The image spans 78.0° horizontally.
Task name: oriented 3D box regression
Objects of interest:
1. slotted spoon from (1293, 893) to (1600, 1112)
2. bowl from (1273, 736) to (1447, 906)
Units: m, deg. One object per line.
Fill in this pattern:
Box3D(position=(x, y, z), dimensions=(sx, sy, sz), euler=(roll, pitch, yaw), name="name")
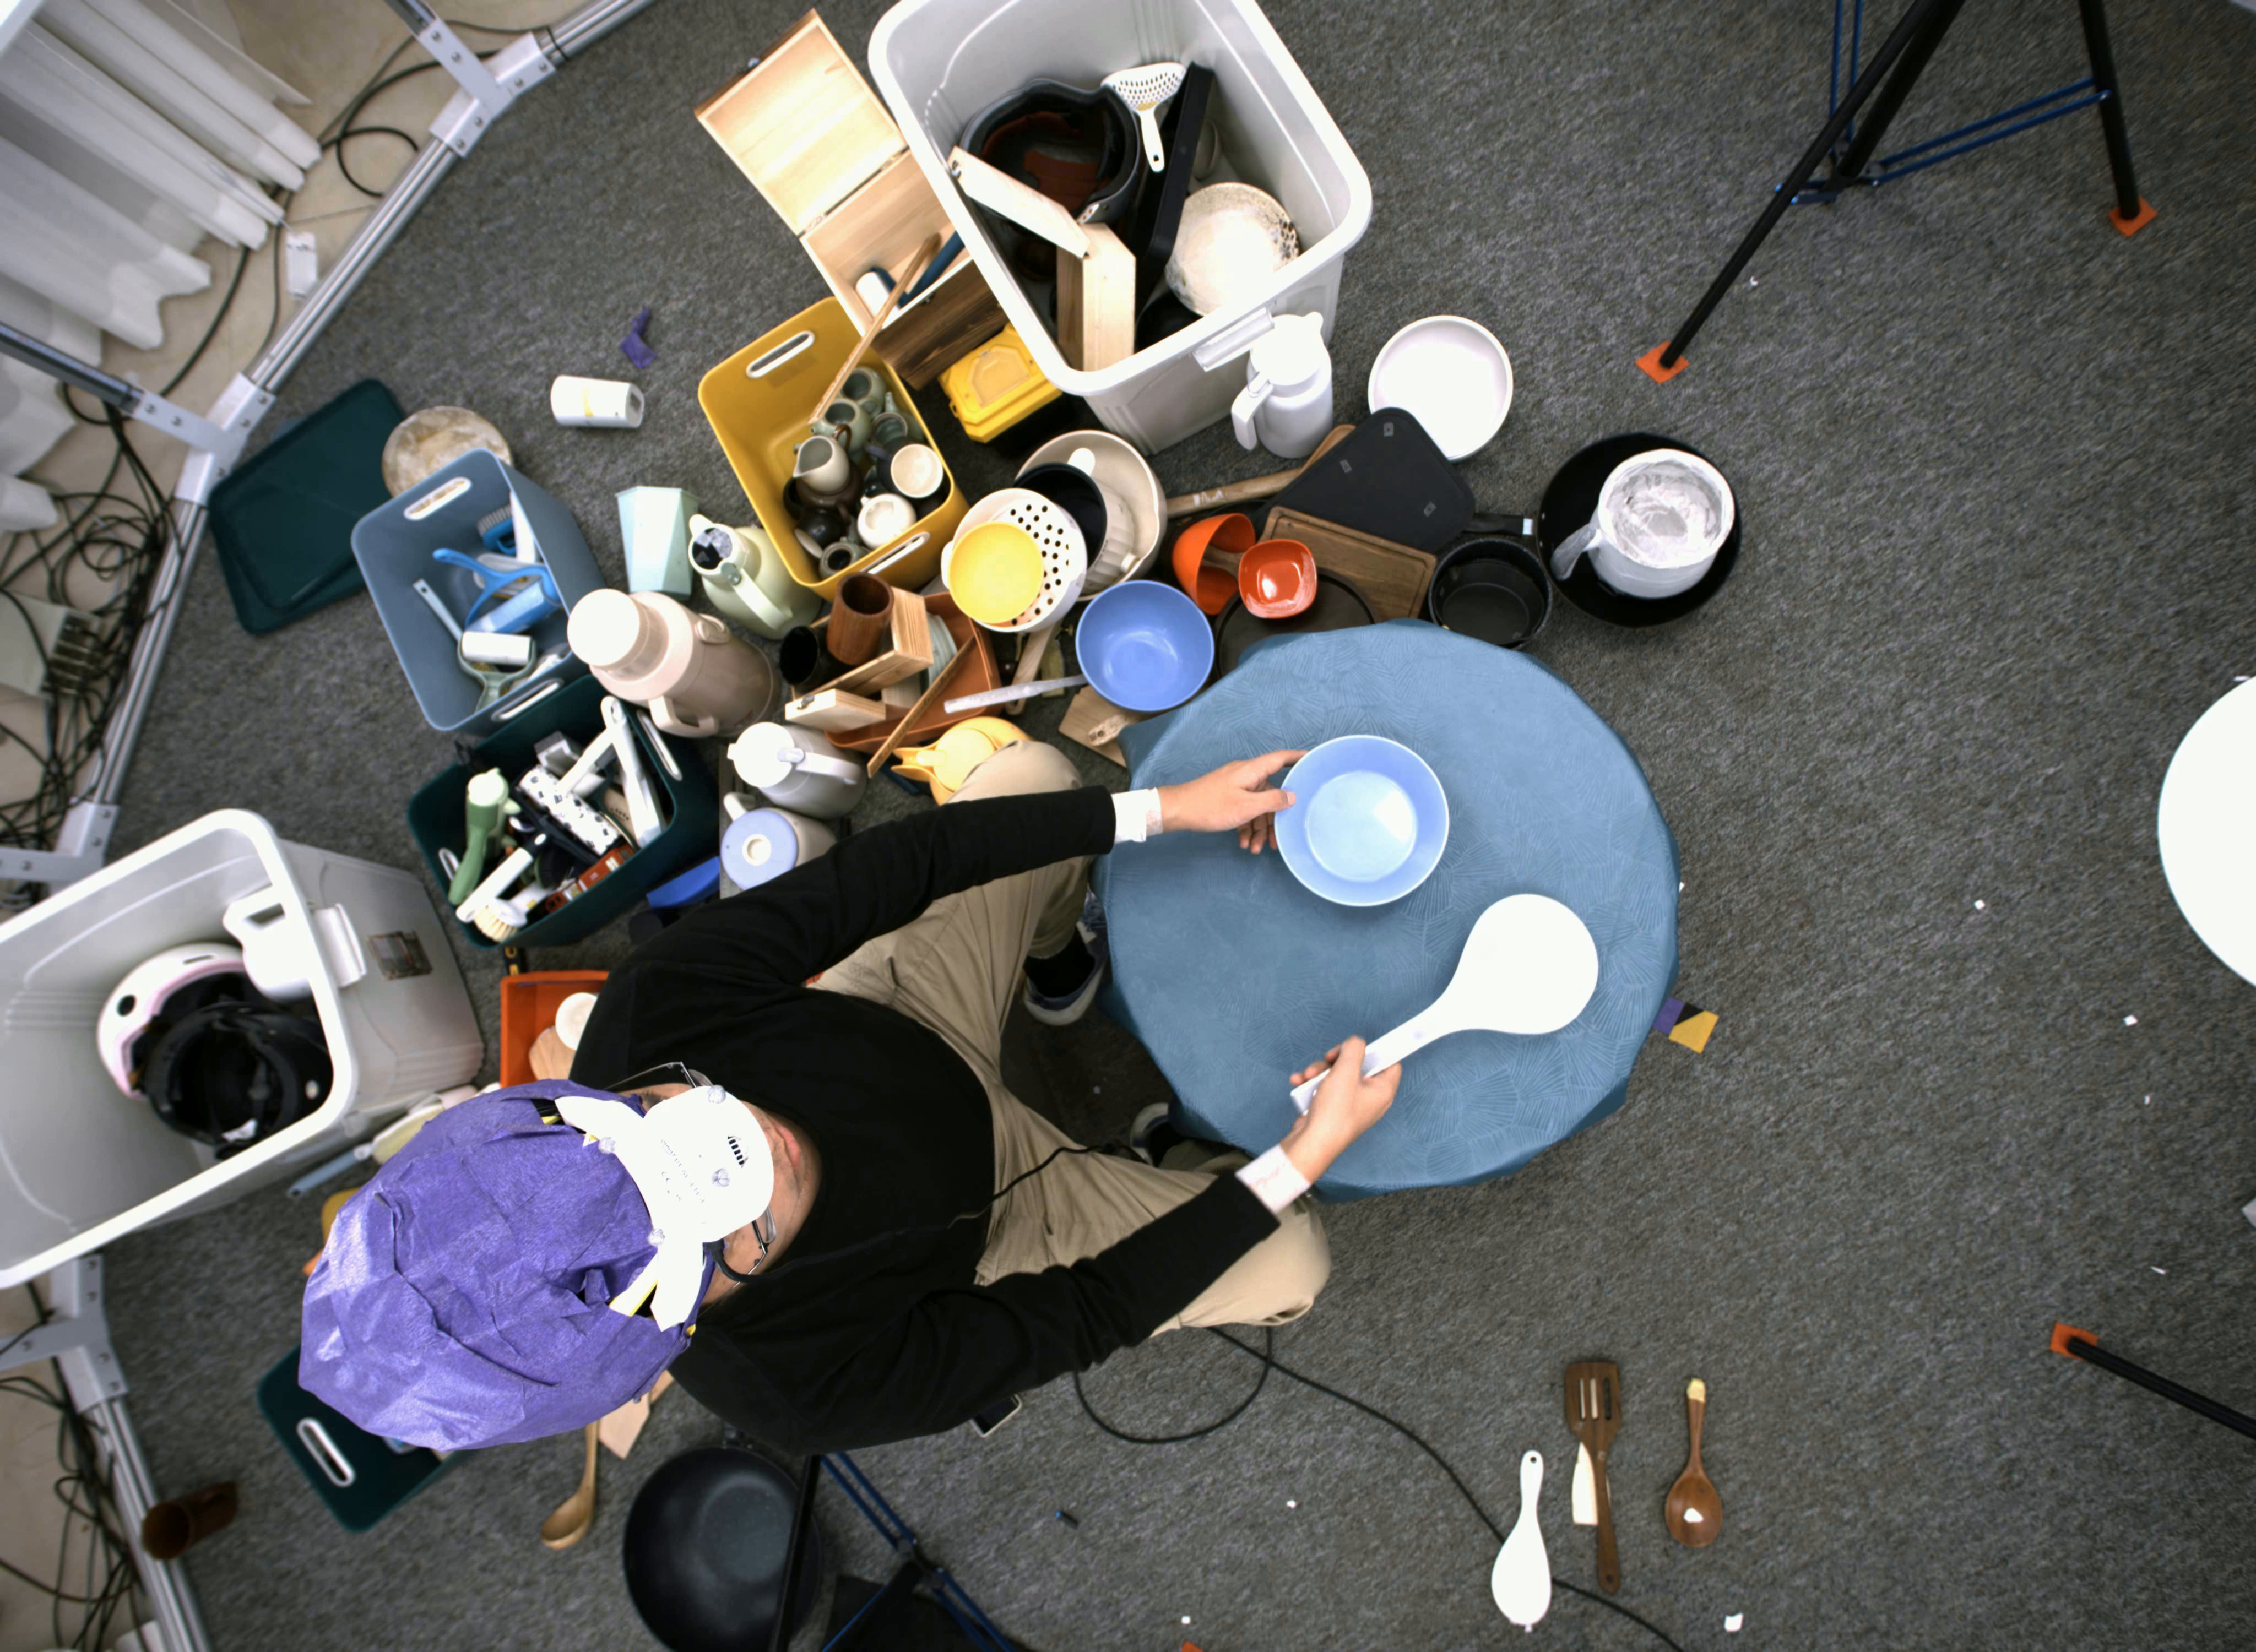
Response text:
Box3D(position=(0.316, 0.185, 1.374), dimensions=(0.347, 0.046, 0.135), euler=(-28, 80, -14), name="slotted spoon")
Box3D(position=(0.241, -0.004, 1.434), dimensions=(0.177, 0.070, 0.175), euler=(-1, 87, 11), name="bowl")
